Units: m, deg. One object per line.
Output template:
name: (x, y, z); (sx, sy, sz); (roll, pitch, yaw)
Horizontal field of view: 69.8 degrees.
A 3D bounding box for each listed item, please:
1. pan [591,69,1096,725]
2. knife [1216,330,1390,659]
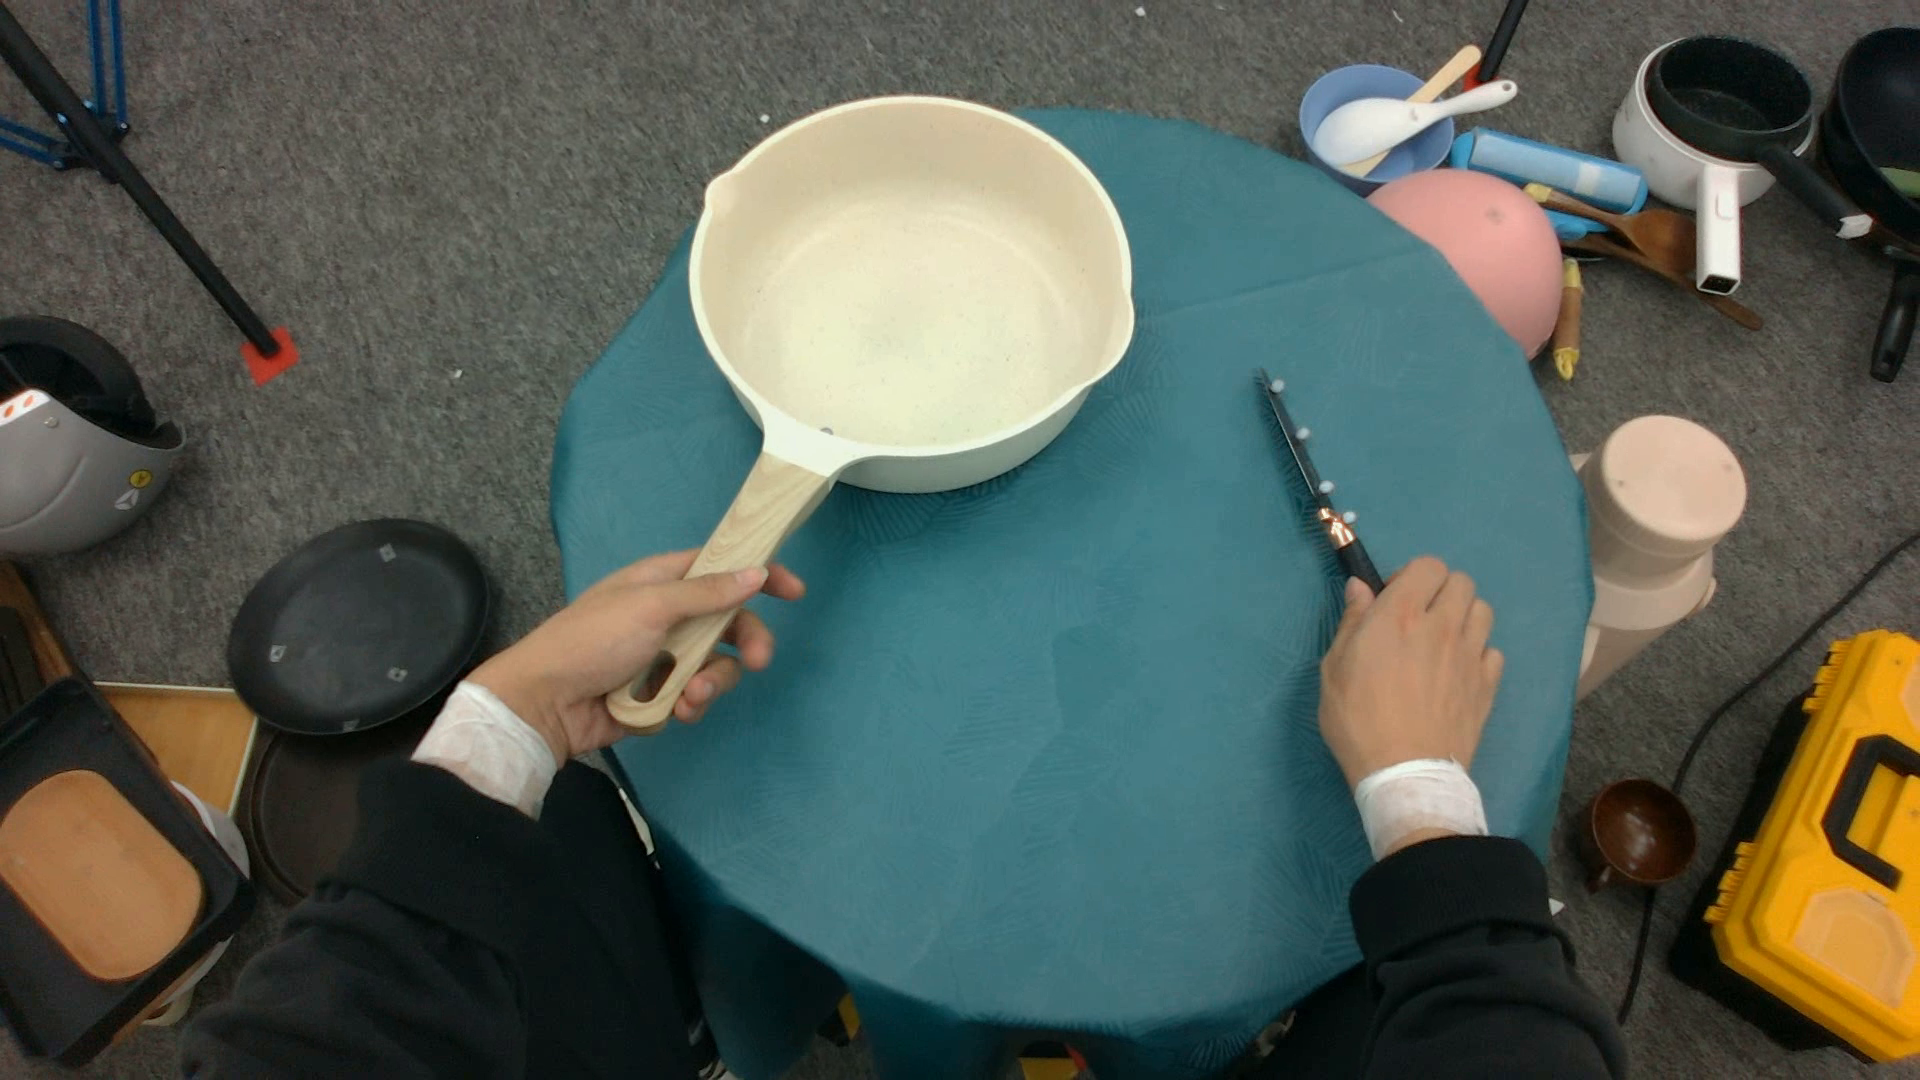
pan: (-0.086, -0.081, 0.771); (0.263, 0.101, 0.436); (22, 65, 6)
knife: (0.196, -0.032, 0.800); (0.026, 0.017, 0.226); (8, 53, -43)
